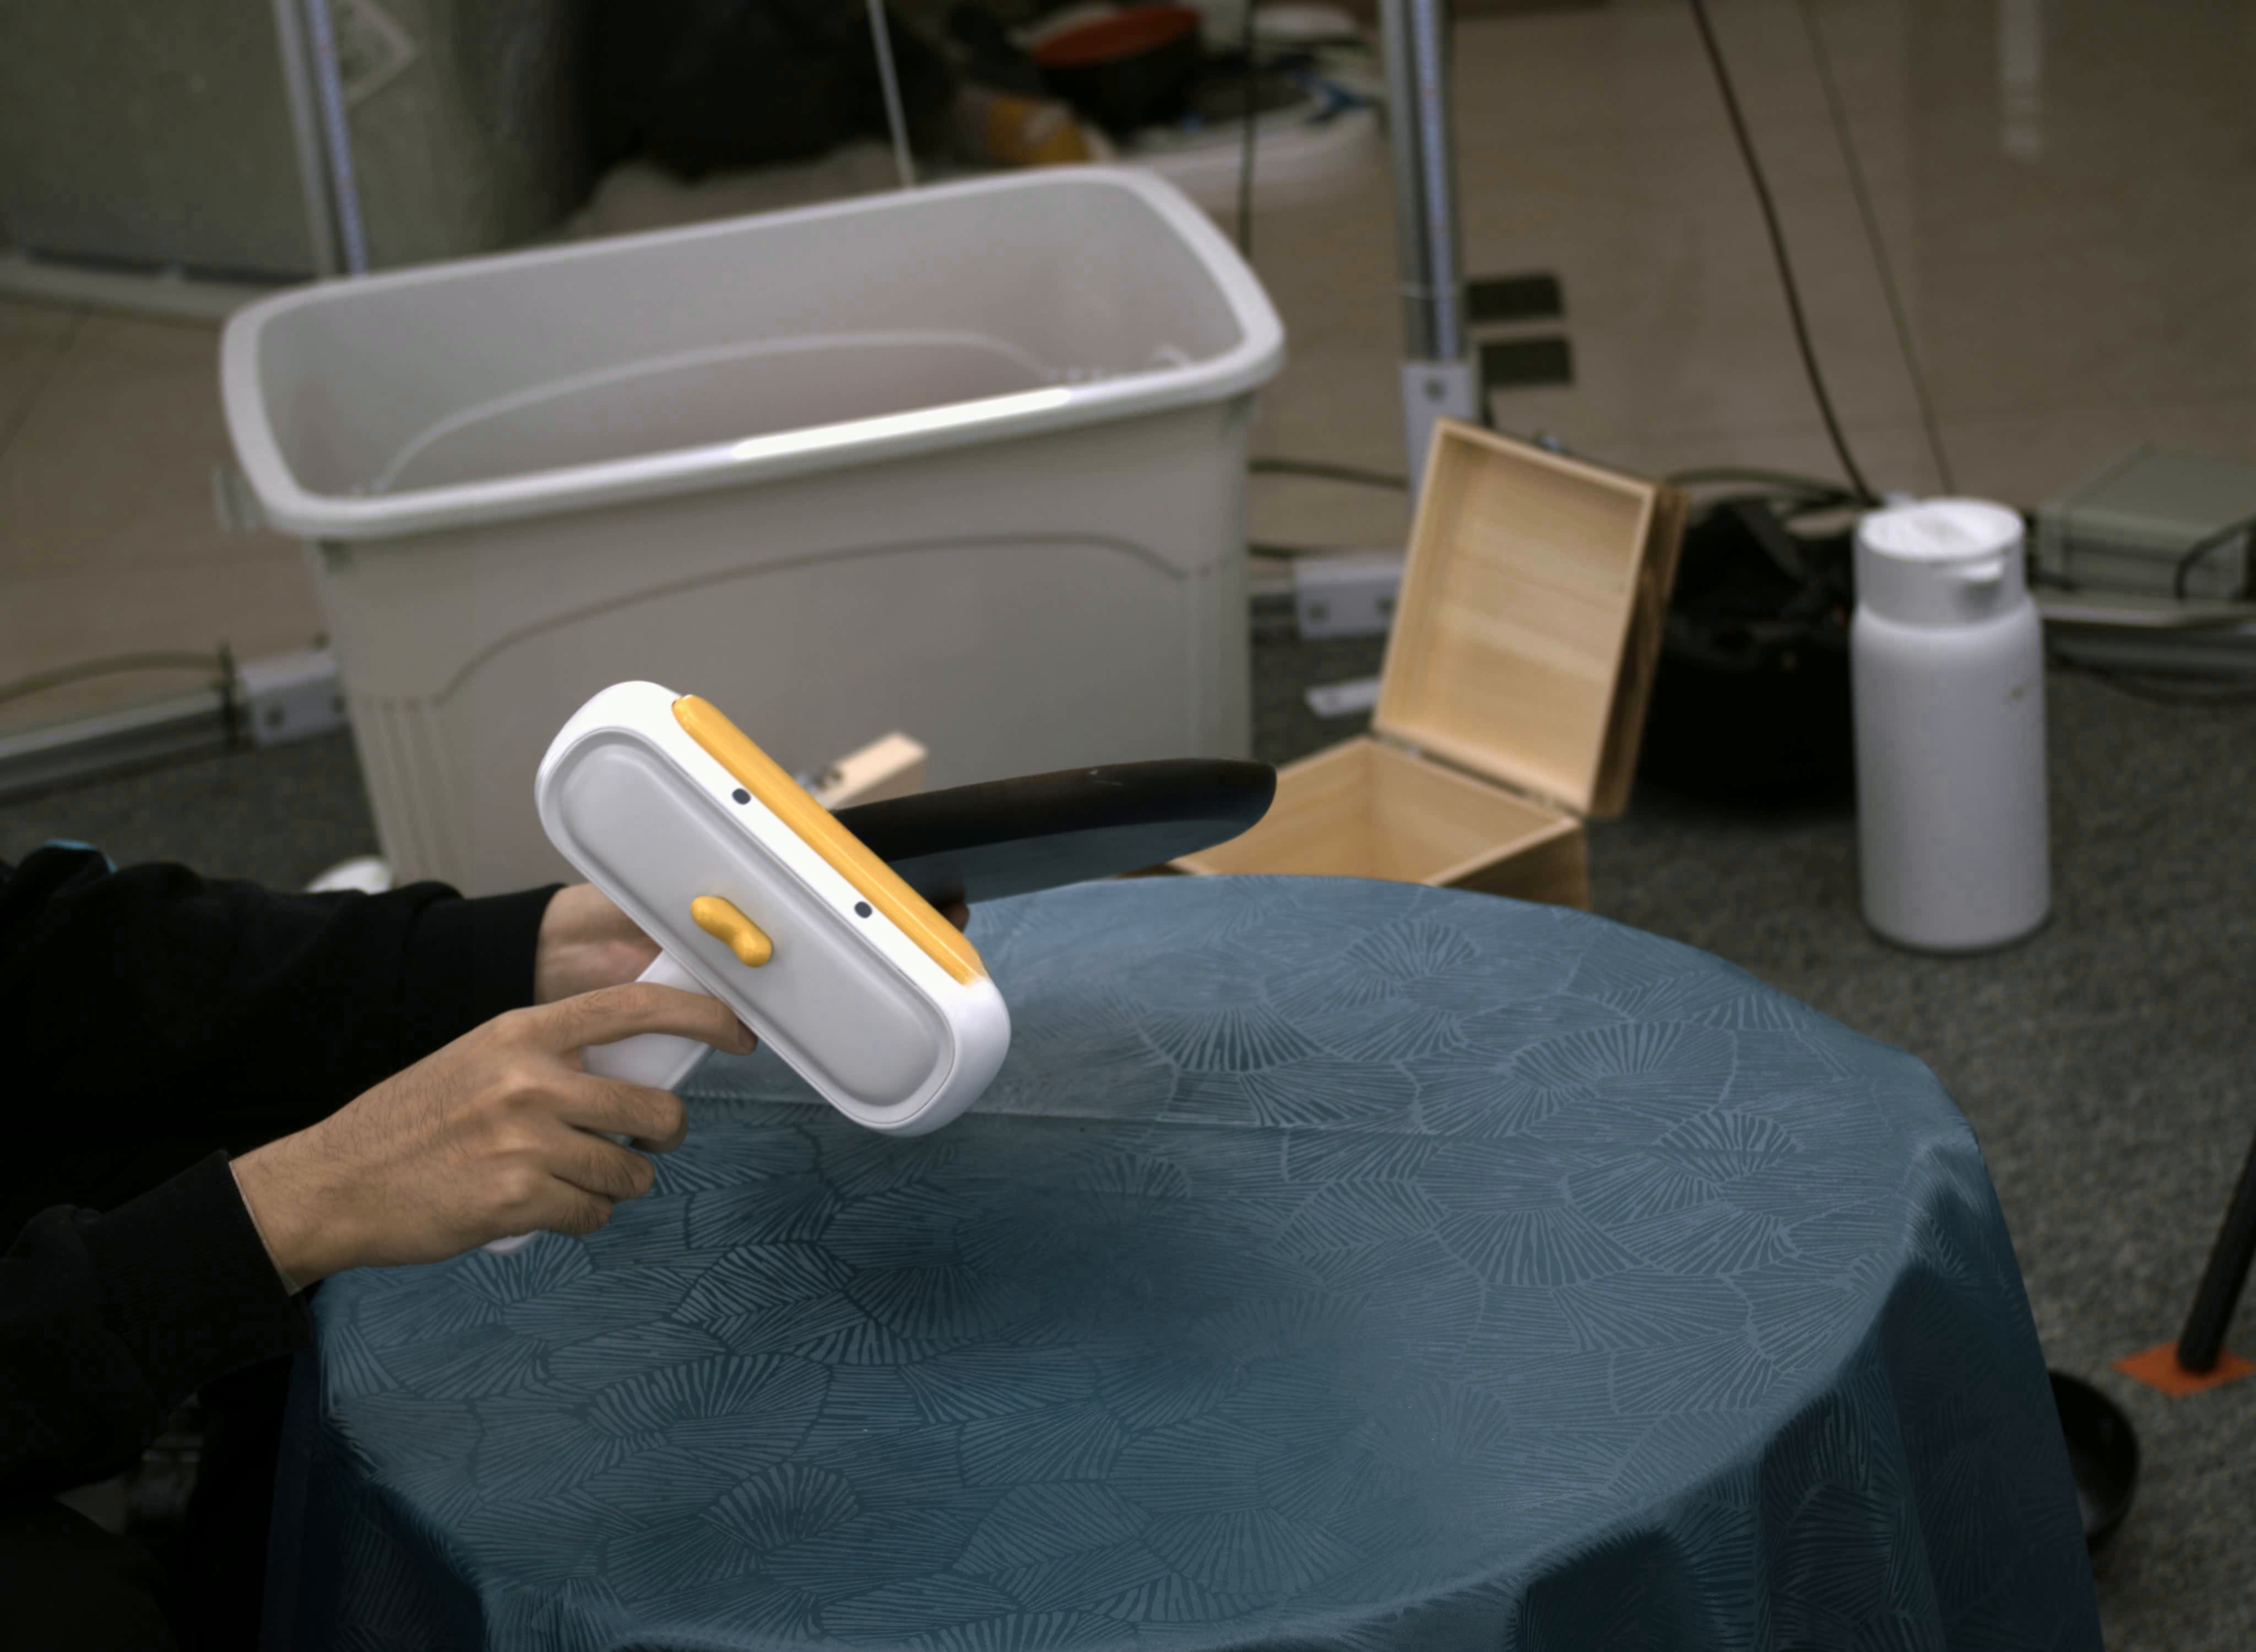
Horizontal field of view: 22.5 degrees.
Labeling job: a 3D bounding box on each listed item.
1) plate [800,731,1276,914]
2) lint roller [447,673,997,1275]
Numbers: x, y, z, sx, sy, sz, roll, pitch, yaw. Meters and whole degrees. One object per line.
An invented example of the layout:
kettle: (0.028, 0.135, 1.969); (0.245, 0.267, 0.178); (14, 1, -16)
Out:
plate: (-0.067, 0.009, 2.151); (0.254, 0.029, 0.256); (-11, -7, -1)
lint roller: (-0.166, 0.072, 1.961); (0.193, 0.193, 0.073); (37, 12, -1)
